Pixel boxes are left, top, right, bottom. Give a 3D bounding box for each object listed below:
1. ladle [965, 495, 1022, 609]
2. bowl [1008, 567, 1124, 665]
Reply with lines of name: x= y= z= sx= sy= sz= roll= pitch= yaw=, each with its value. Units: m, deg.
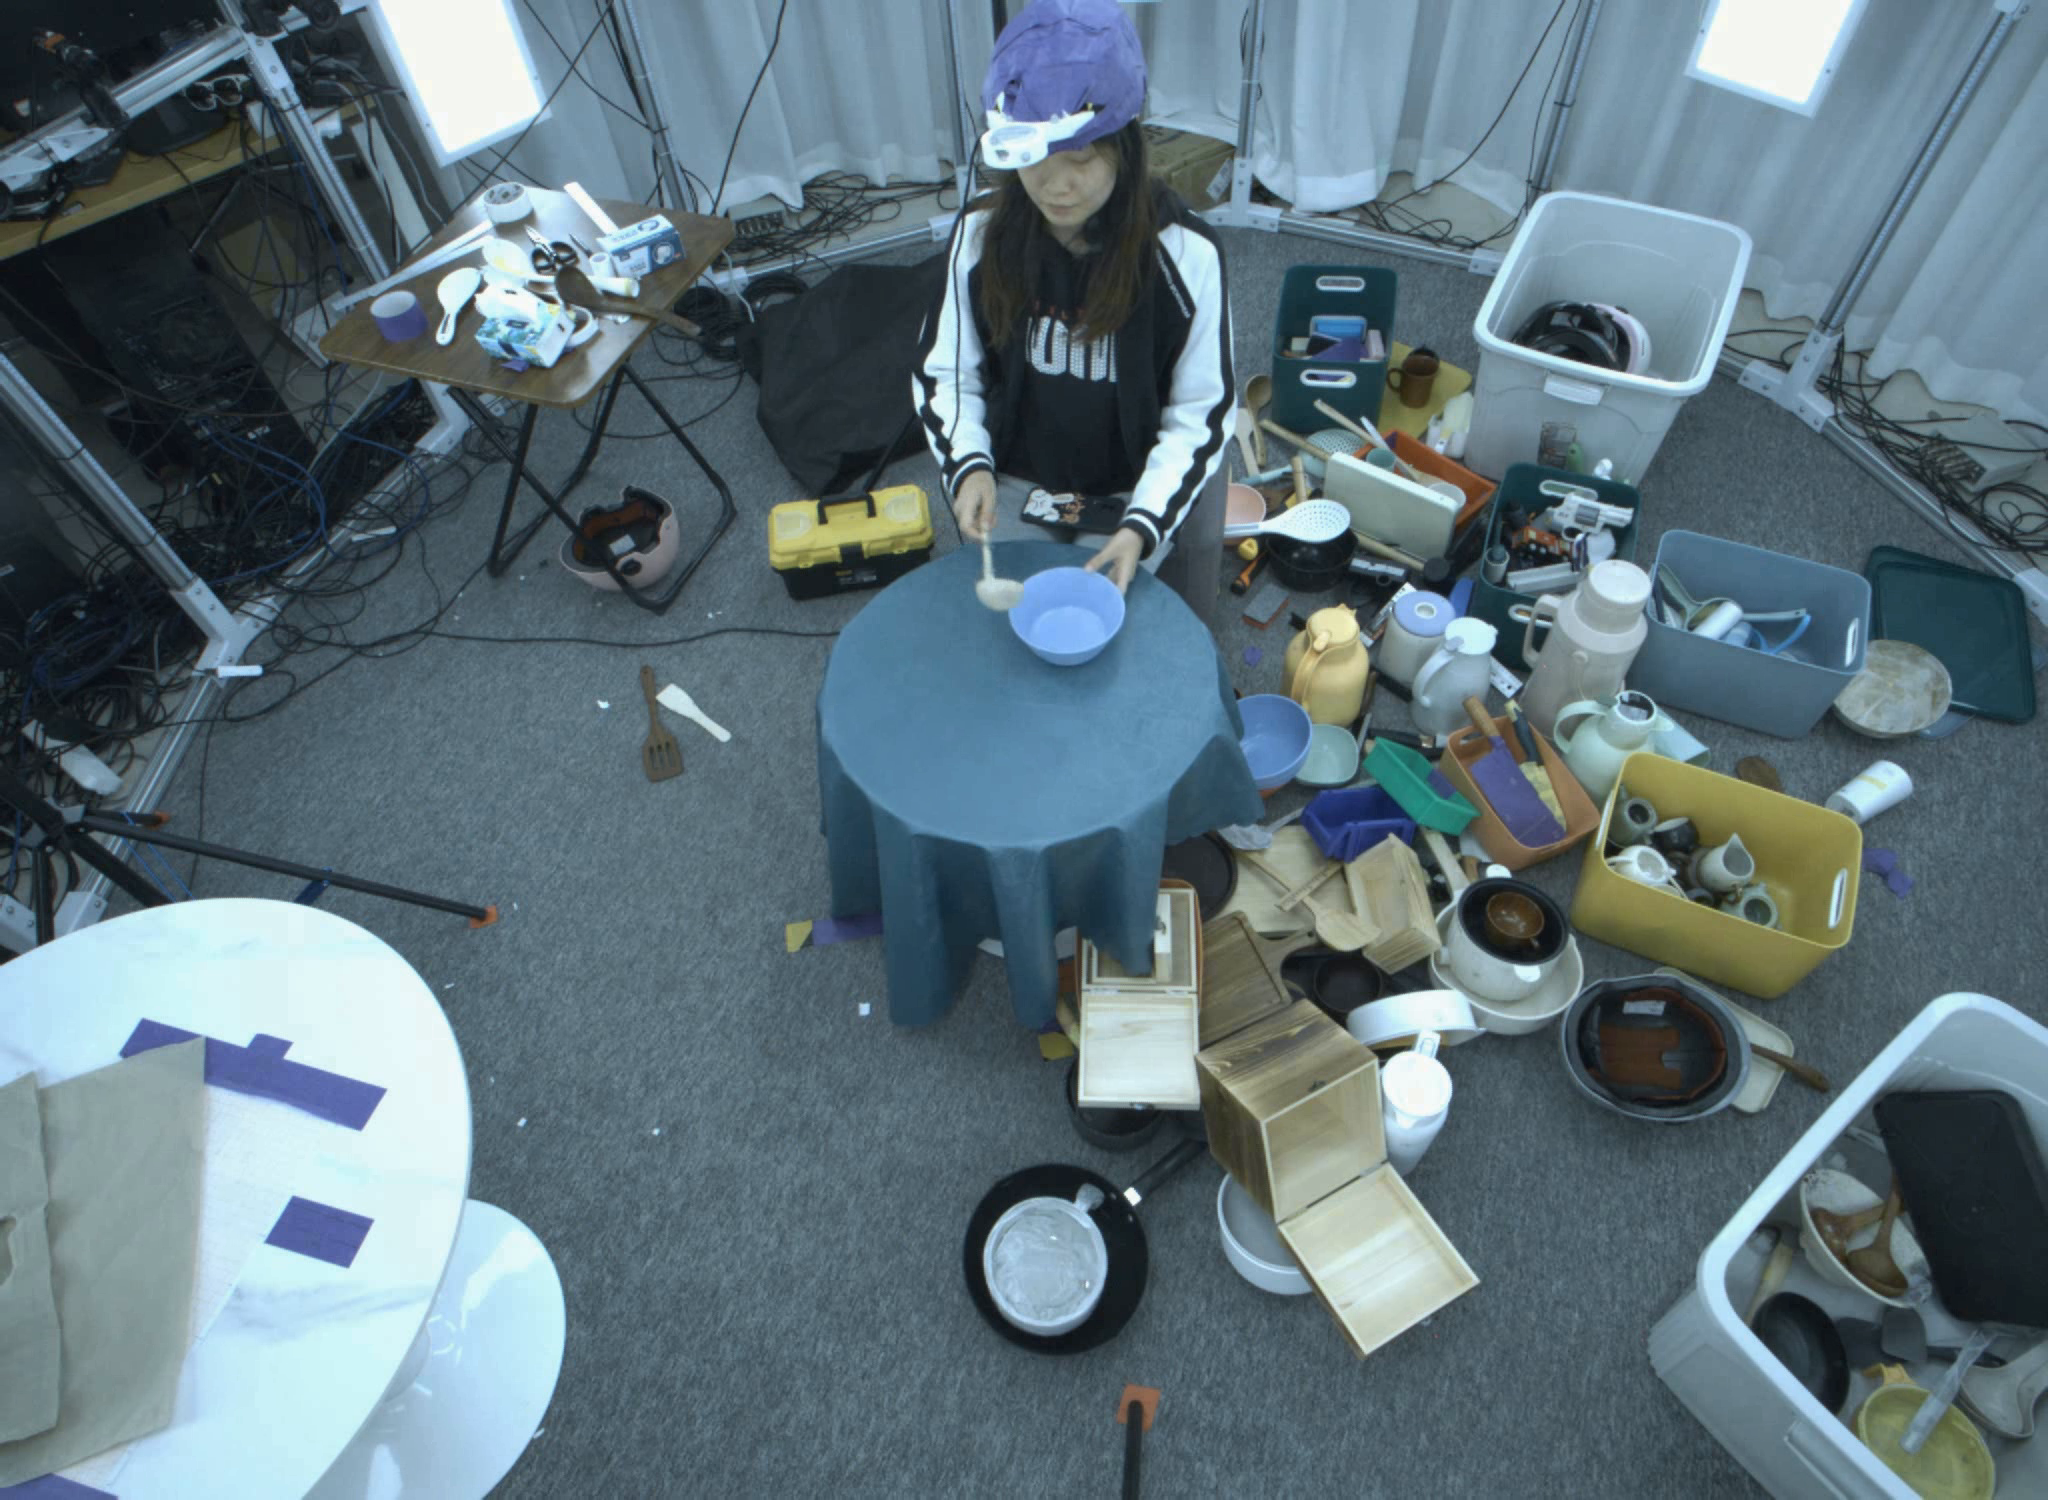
ladle: x=-0.054 y=-0.319 z=1.834 sx=0.073 sy=0.072 sz=0.251 roll=8 pitch=53 yaw=-26
bowl: x=0.064 y=-0.195 z=1.880 sx=0.176 sy=0.071 sz=0.174 roll=0 pitch=55 yaw=1
